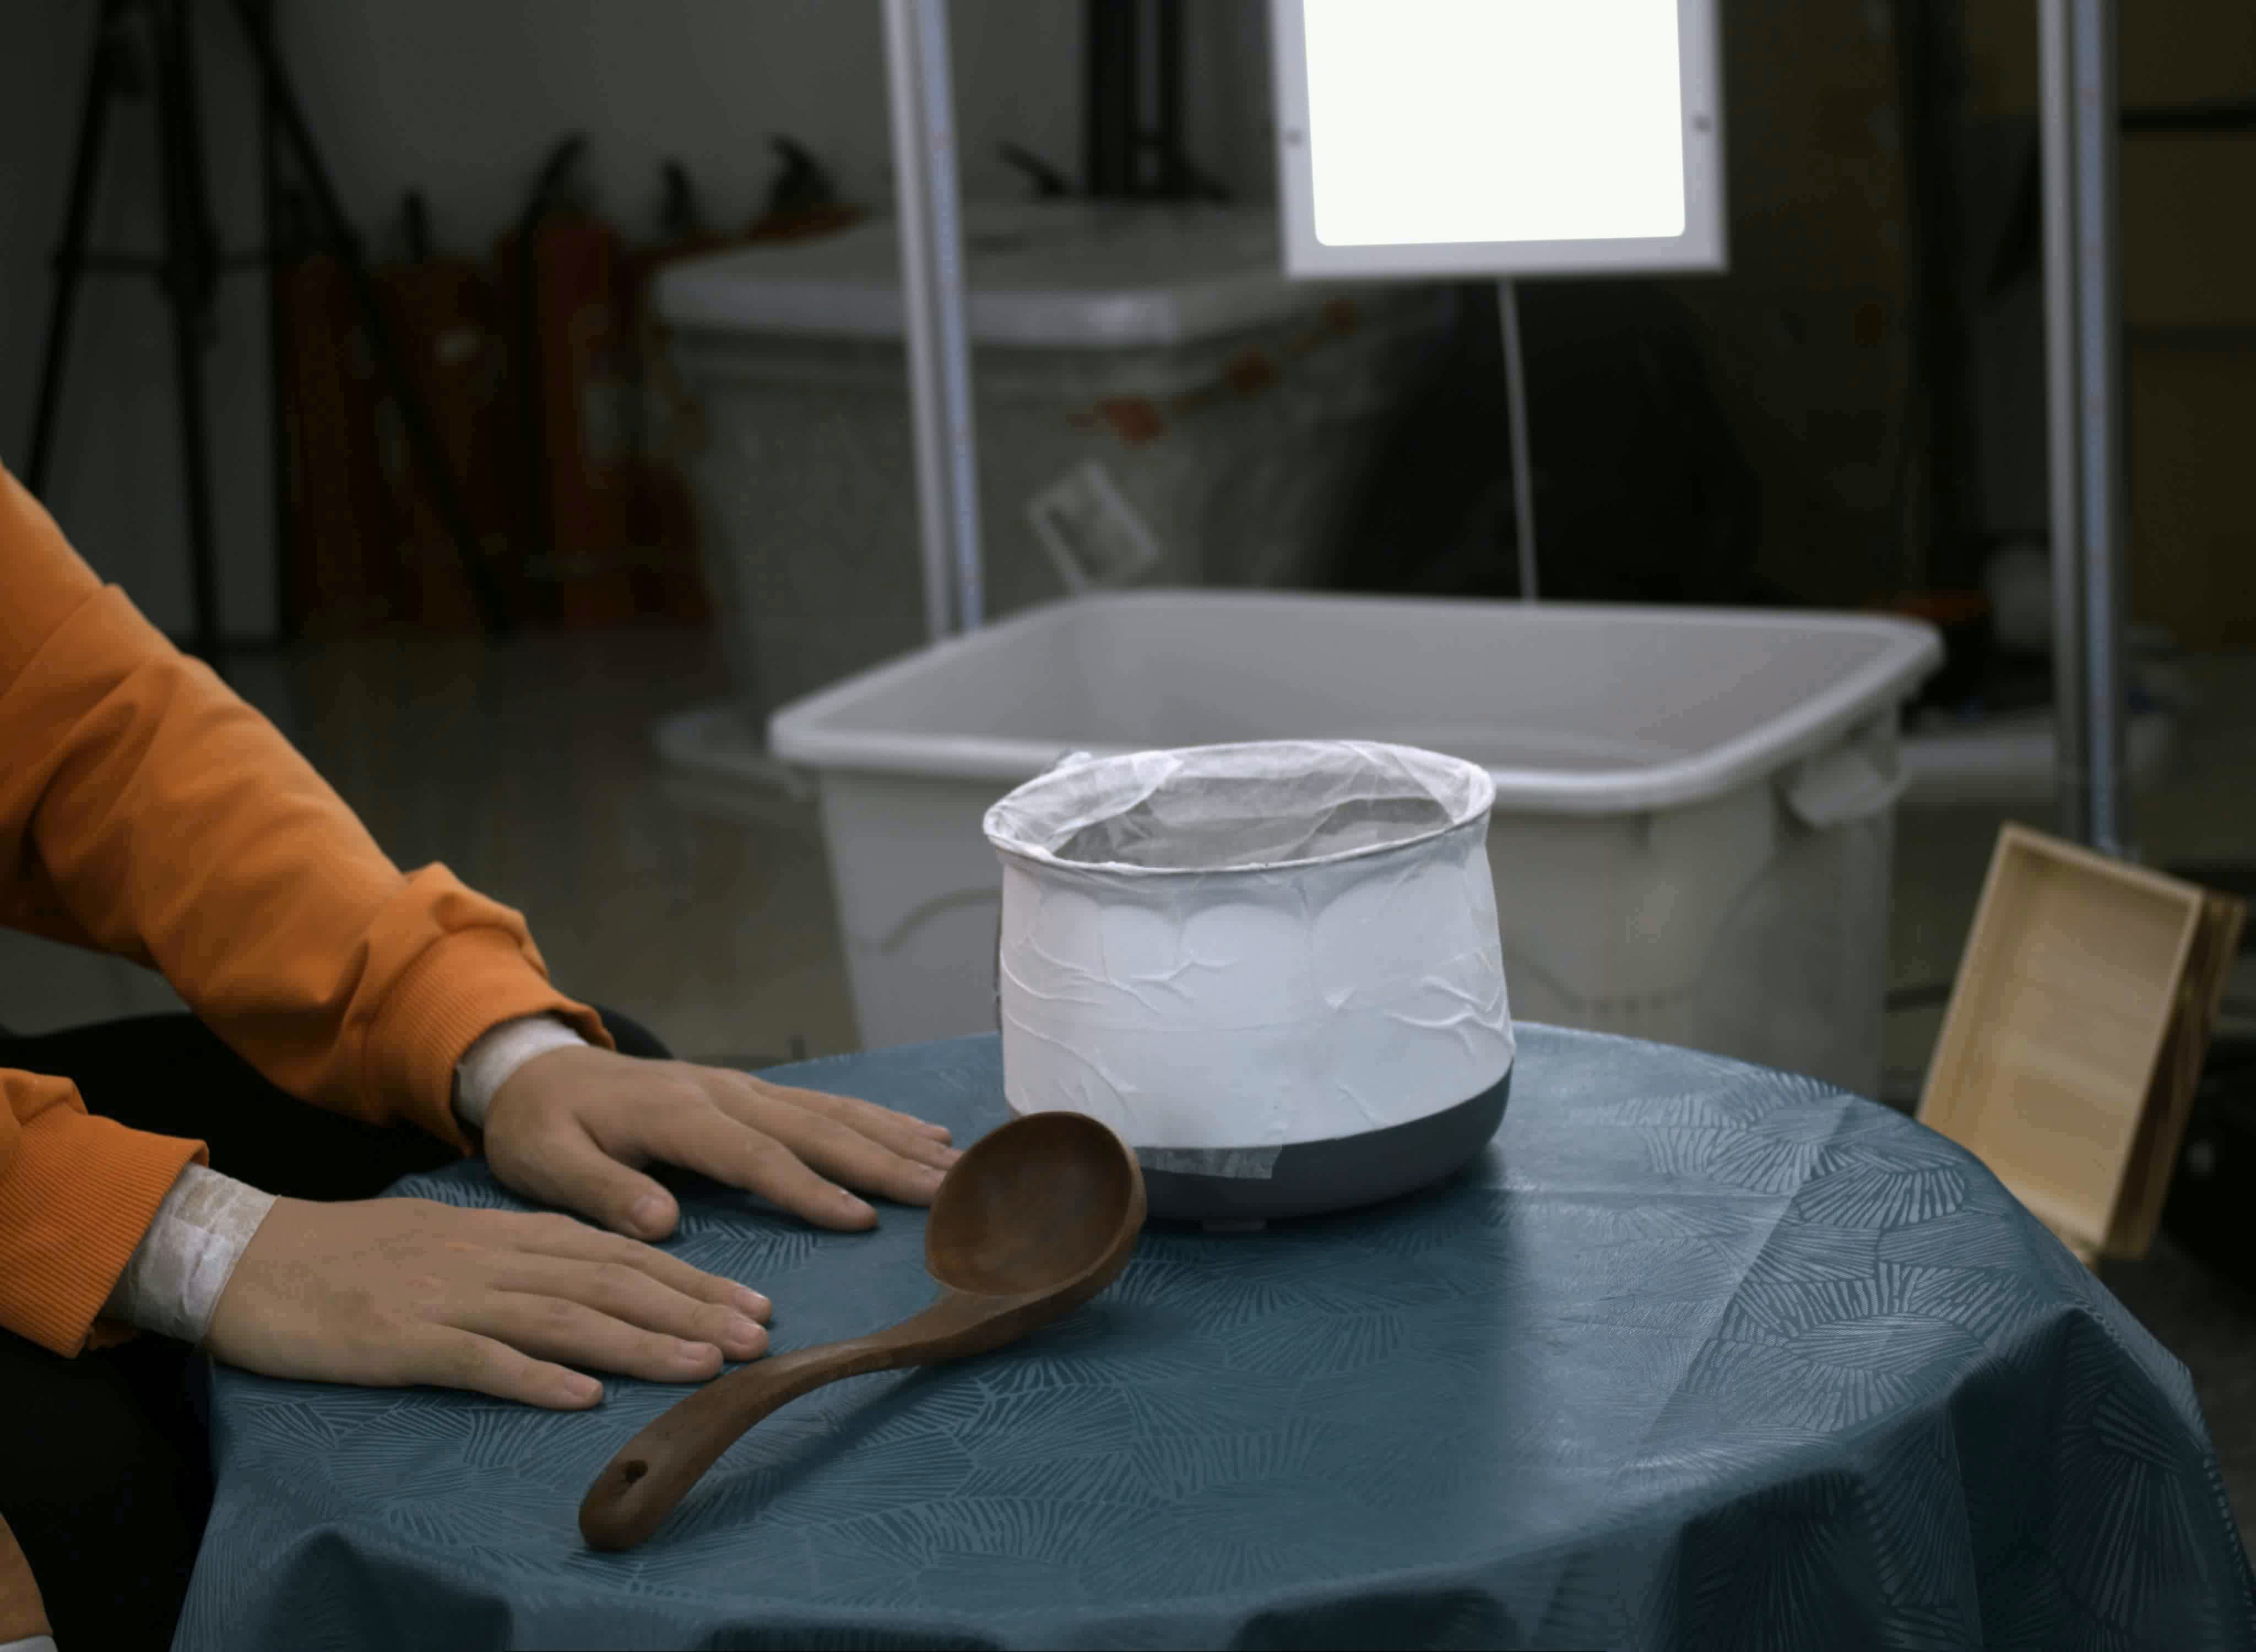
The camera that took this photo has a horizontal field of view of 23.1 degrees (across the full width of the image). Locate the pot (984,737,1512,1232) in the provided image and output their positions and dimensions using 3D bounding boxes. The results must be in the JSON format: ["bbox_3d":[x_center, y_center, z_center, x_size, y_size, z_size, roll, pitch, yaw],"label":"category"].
[{"bbox_3d":[0.026,0.049,1.915,0.174,0.137,0.238,-14,17,-33],"label":"pot"}]

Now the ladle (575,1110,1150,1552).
[{"bbox_3d":[-0.084,0.151,1.696,0.078,0.065,0.254,3,16,37],"label":"ladle"}]
